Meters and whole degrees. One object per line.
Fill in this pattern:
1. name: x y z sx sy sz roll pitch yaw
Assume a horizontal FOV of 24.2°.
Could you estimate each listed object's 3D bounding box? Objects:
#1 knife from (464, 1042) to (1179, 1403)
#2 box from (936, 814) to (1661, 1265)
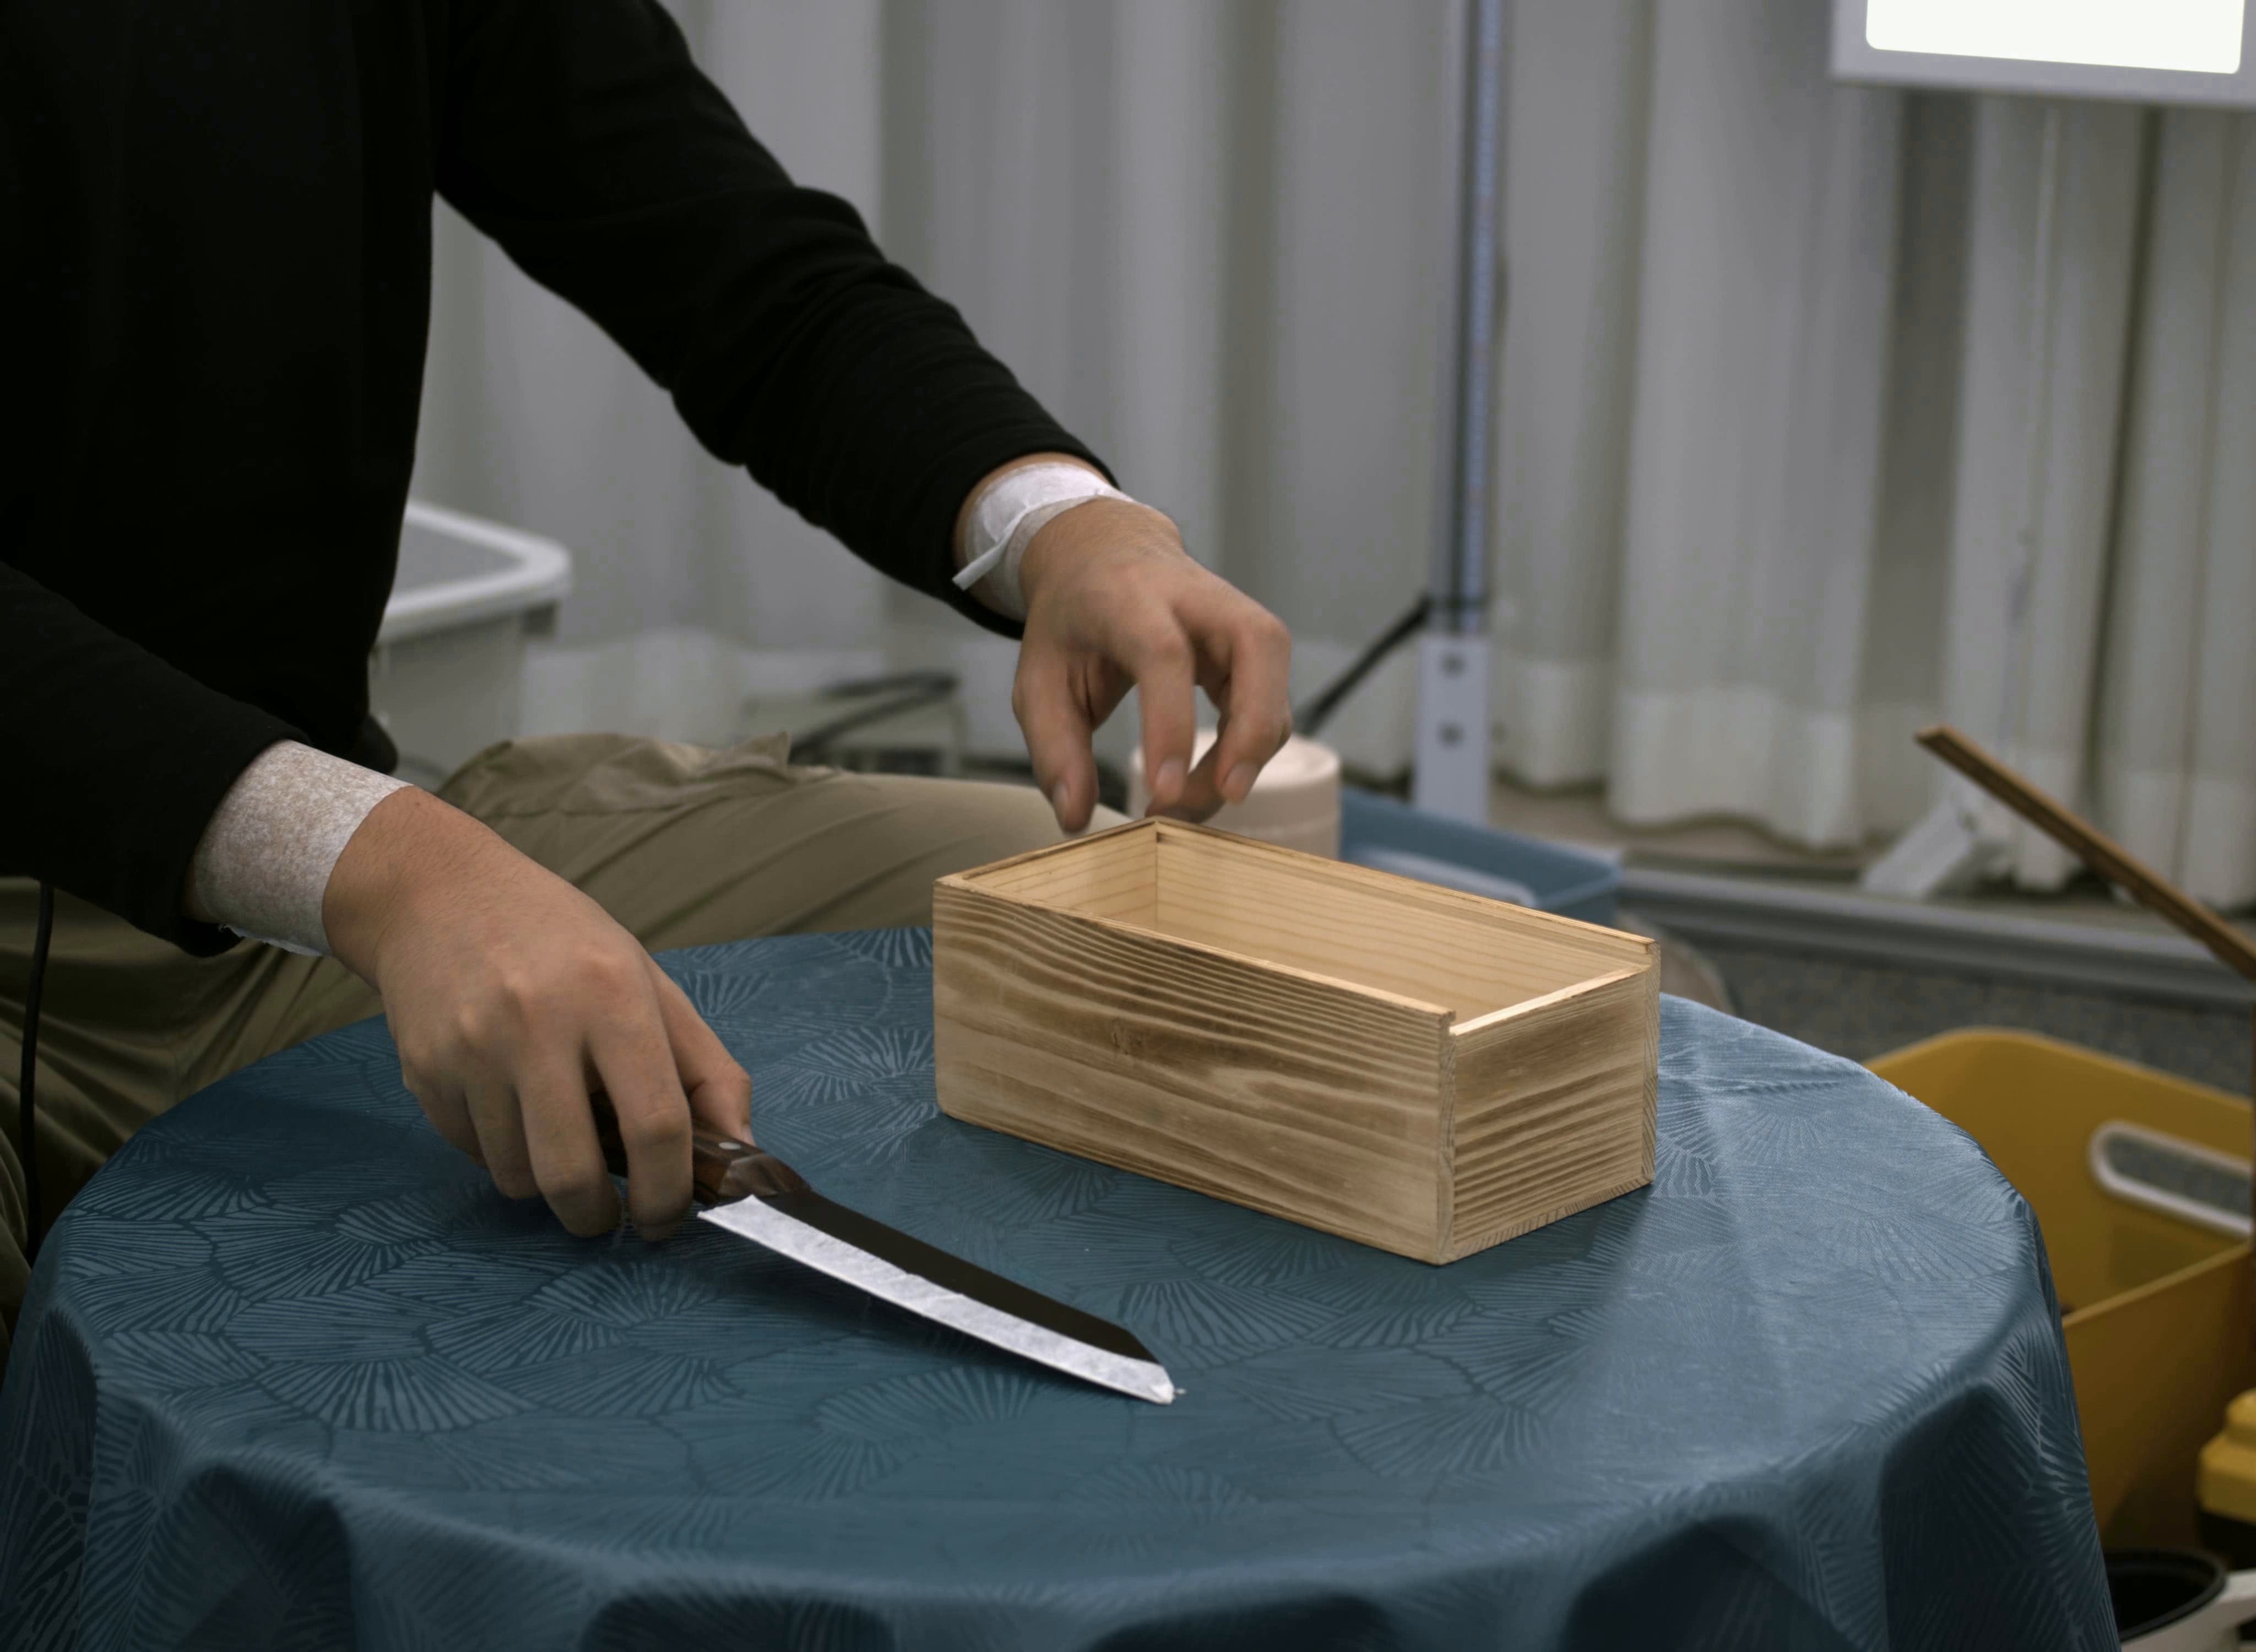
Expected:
1. knife: -0.094 0.117 1.538 0.285 0.020 0.050 21 22 36
2. box: 0.051 0.063 1.651 0.208 0.081 0.108 15 21 40
